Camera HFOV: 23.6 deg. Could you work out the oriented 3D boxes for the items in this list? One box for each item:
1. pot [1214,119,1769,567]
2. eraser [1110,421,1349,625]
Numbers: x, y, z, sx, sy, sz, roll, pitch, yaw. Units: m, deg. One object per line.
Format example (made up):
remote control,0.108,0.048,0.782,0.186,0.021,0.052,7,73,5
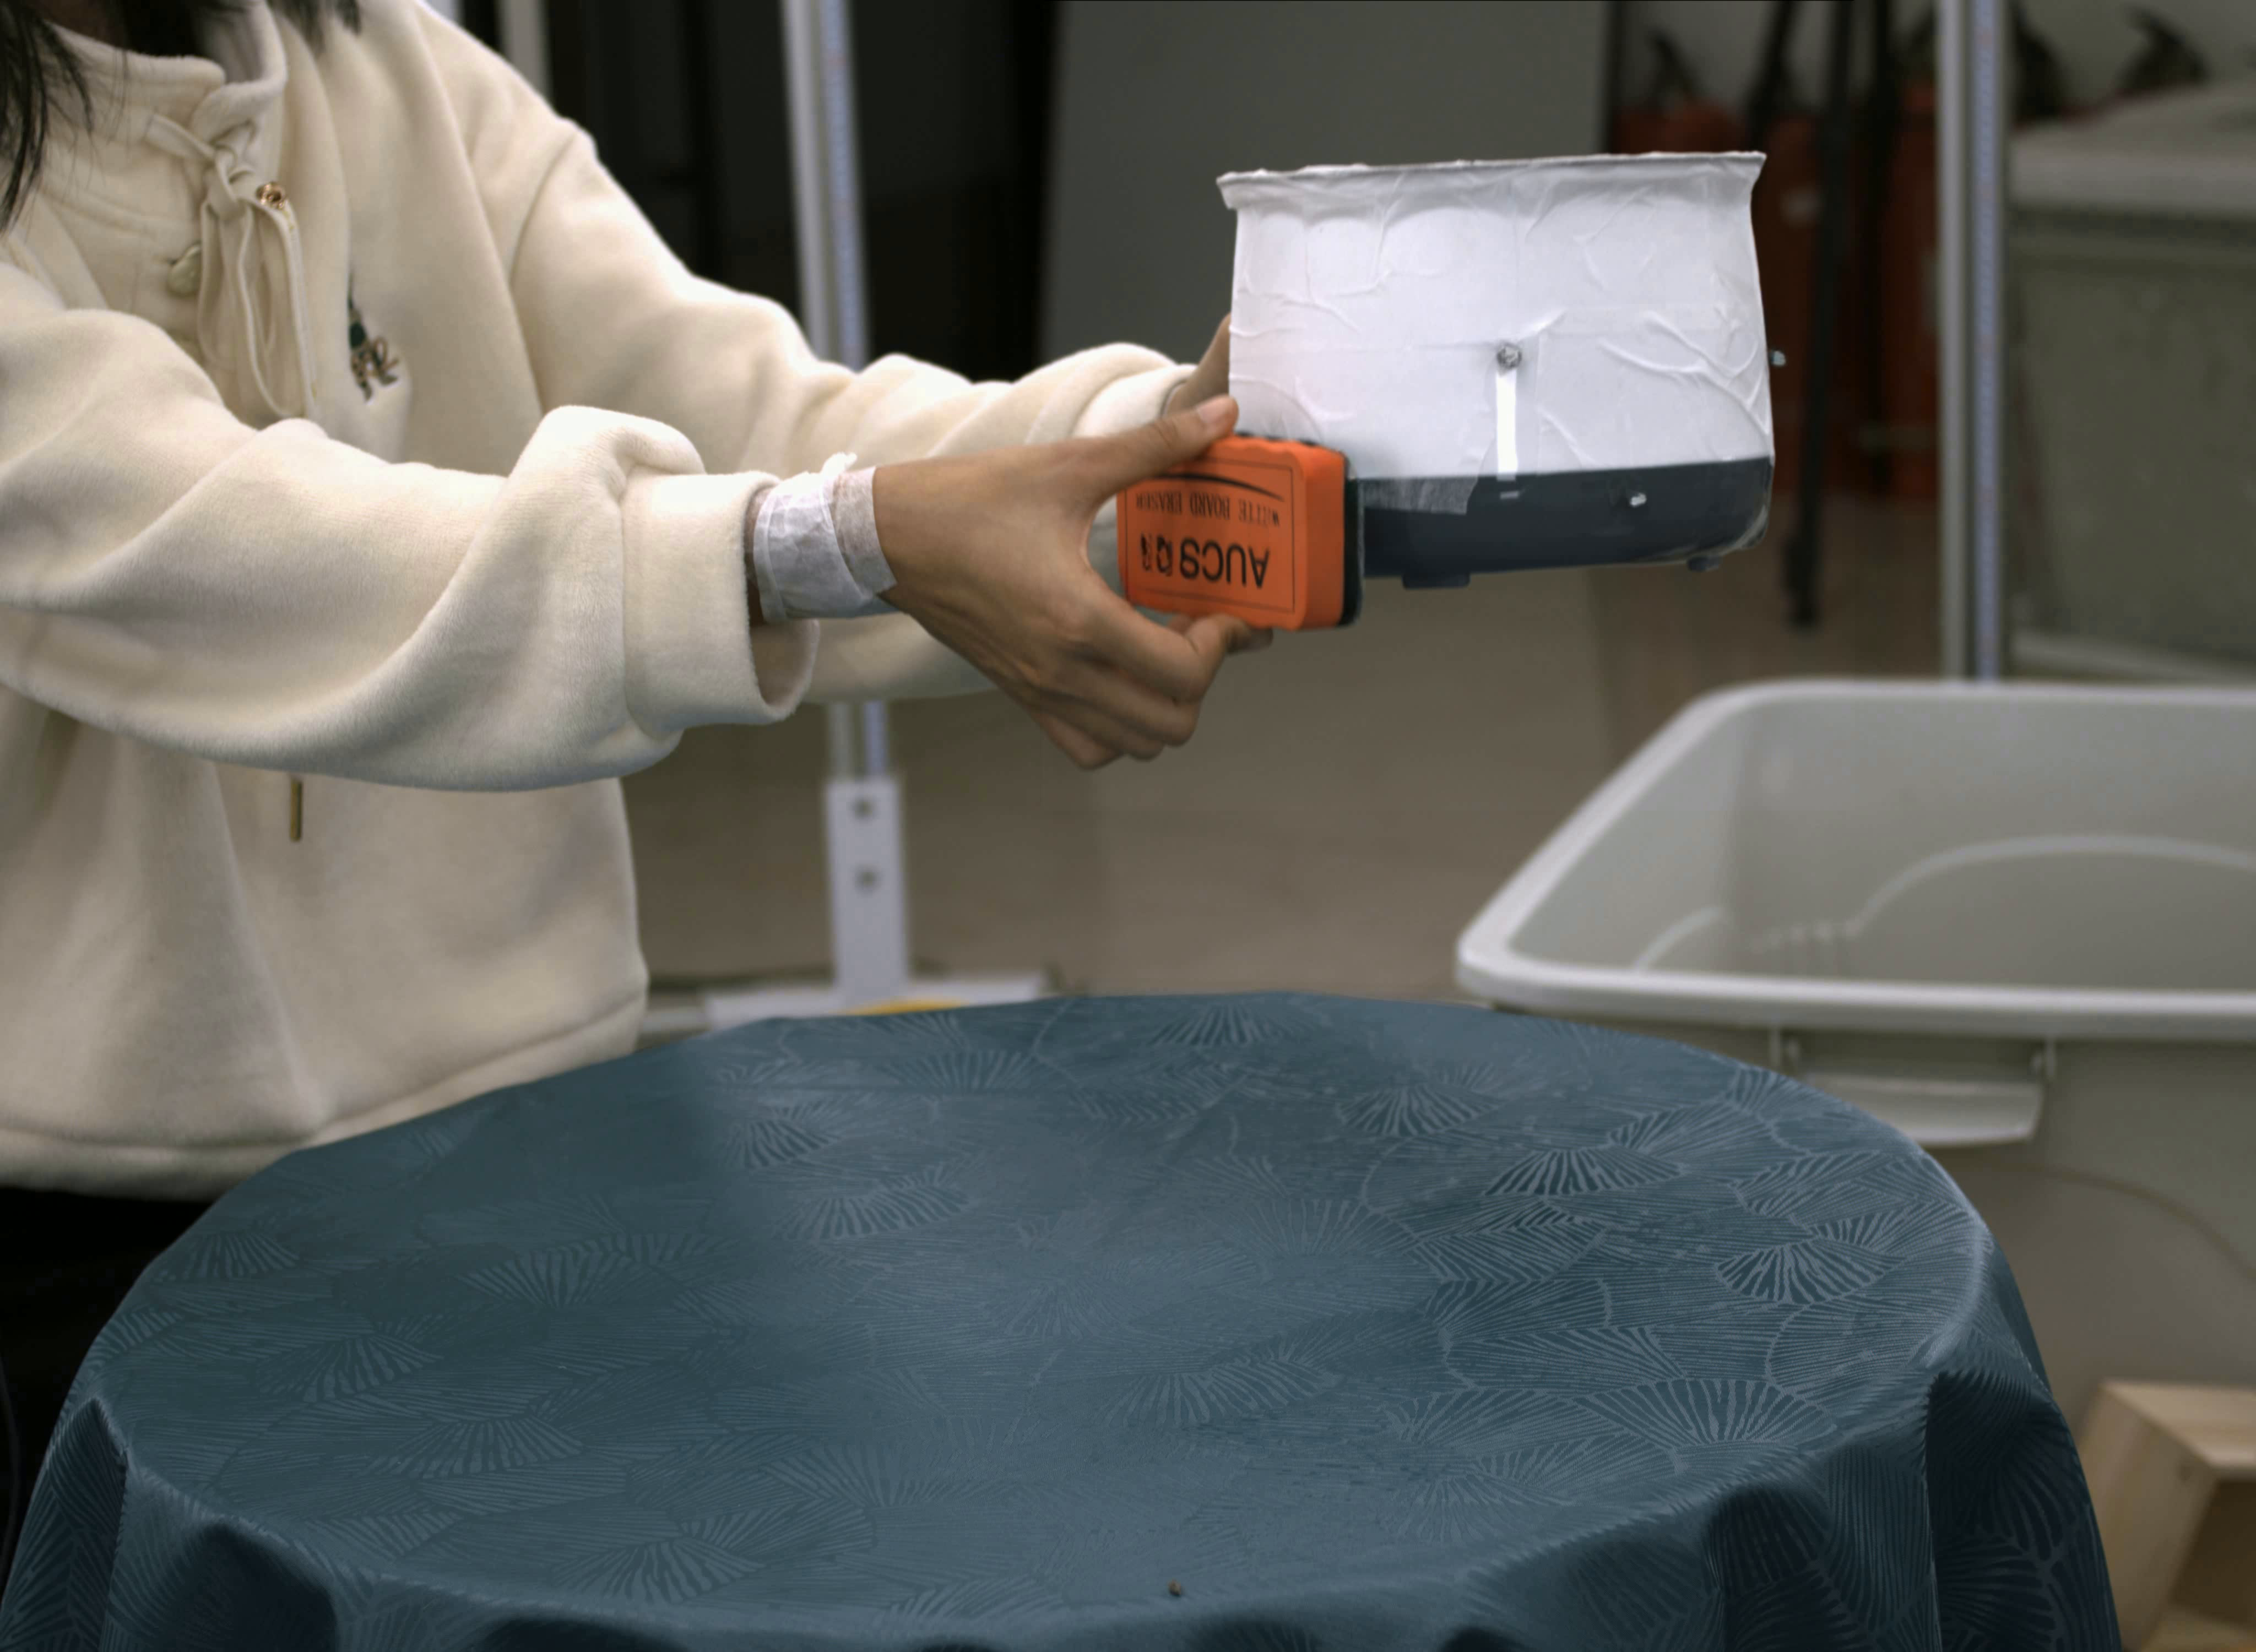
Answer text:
pot,0.105,-0.158,1.753,0.175,0.138,0.236,-5,6,-23
eraser,0.031,-0.095,1.682,0.022,0.060,0.109,-7,9,-29
